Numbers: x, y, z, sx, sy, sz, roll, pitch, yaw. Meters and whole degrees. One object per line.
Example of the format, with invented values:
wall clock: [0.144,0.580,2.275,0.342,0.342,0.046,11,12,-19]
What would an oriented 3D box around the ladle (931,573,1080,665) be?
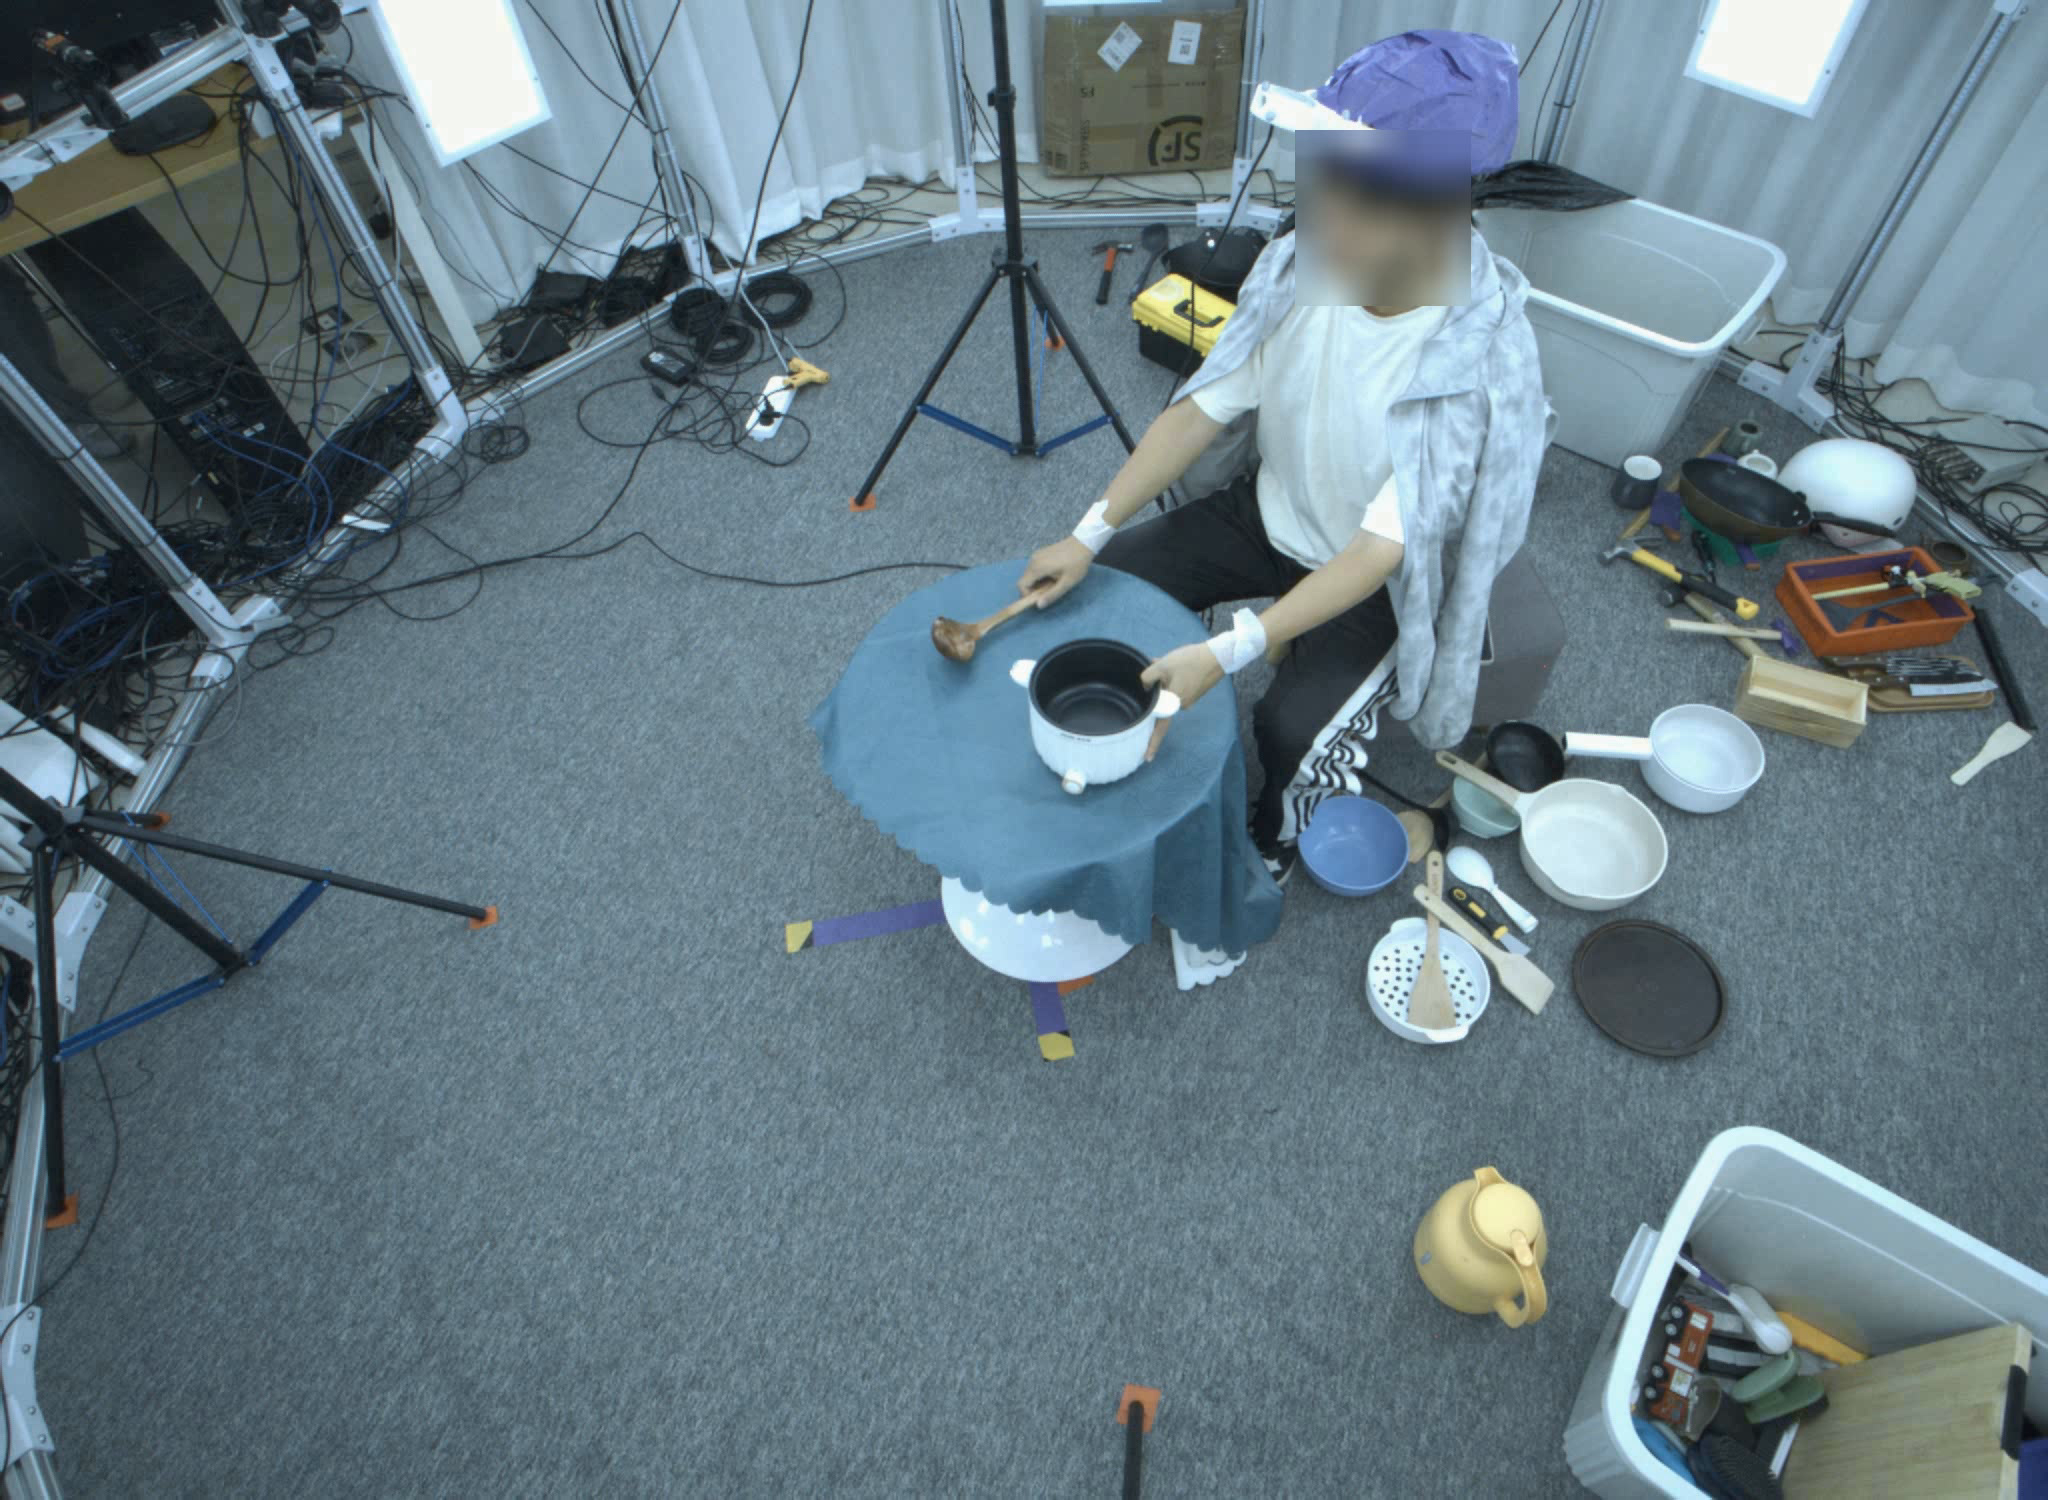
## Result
ladle: [-0.023,-0.216,1.886,0.276,0.076,0.082,-30,92,-18]

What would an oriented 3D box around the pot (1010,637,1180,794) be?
pot: [0.097,-0.044,1.728,0.238,0.144,0.190,12,50,12]
